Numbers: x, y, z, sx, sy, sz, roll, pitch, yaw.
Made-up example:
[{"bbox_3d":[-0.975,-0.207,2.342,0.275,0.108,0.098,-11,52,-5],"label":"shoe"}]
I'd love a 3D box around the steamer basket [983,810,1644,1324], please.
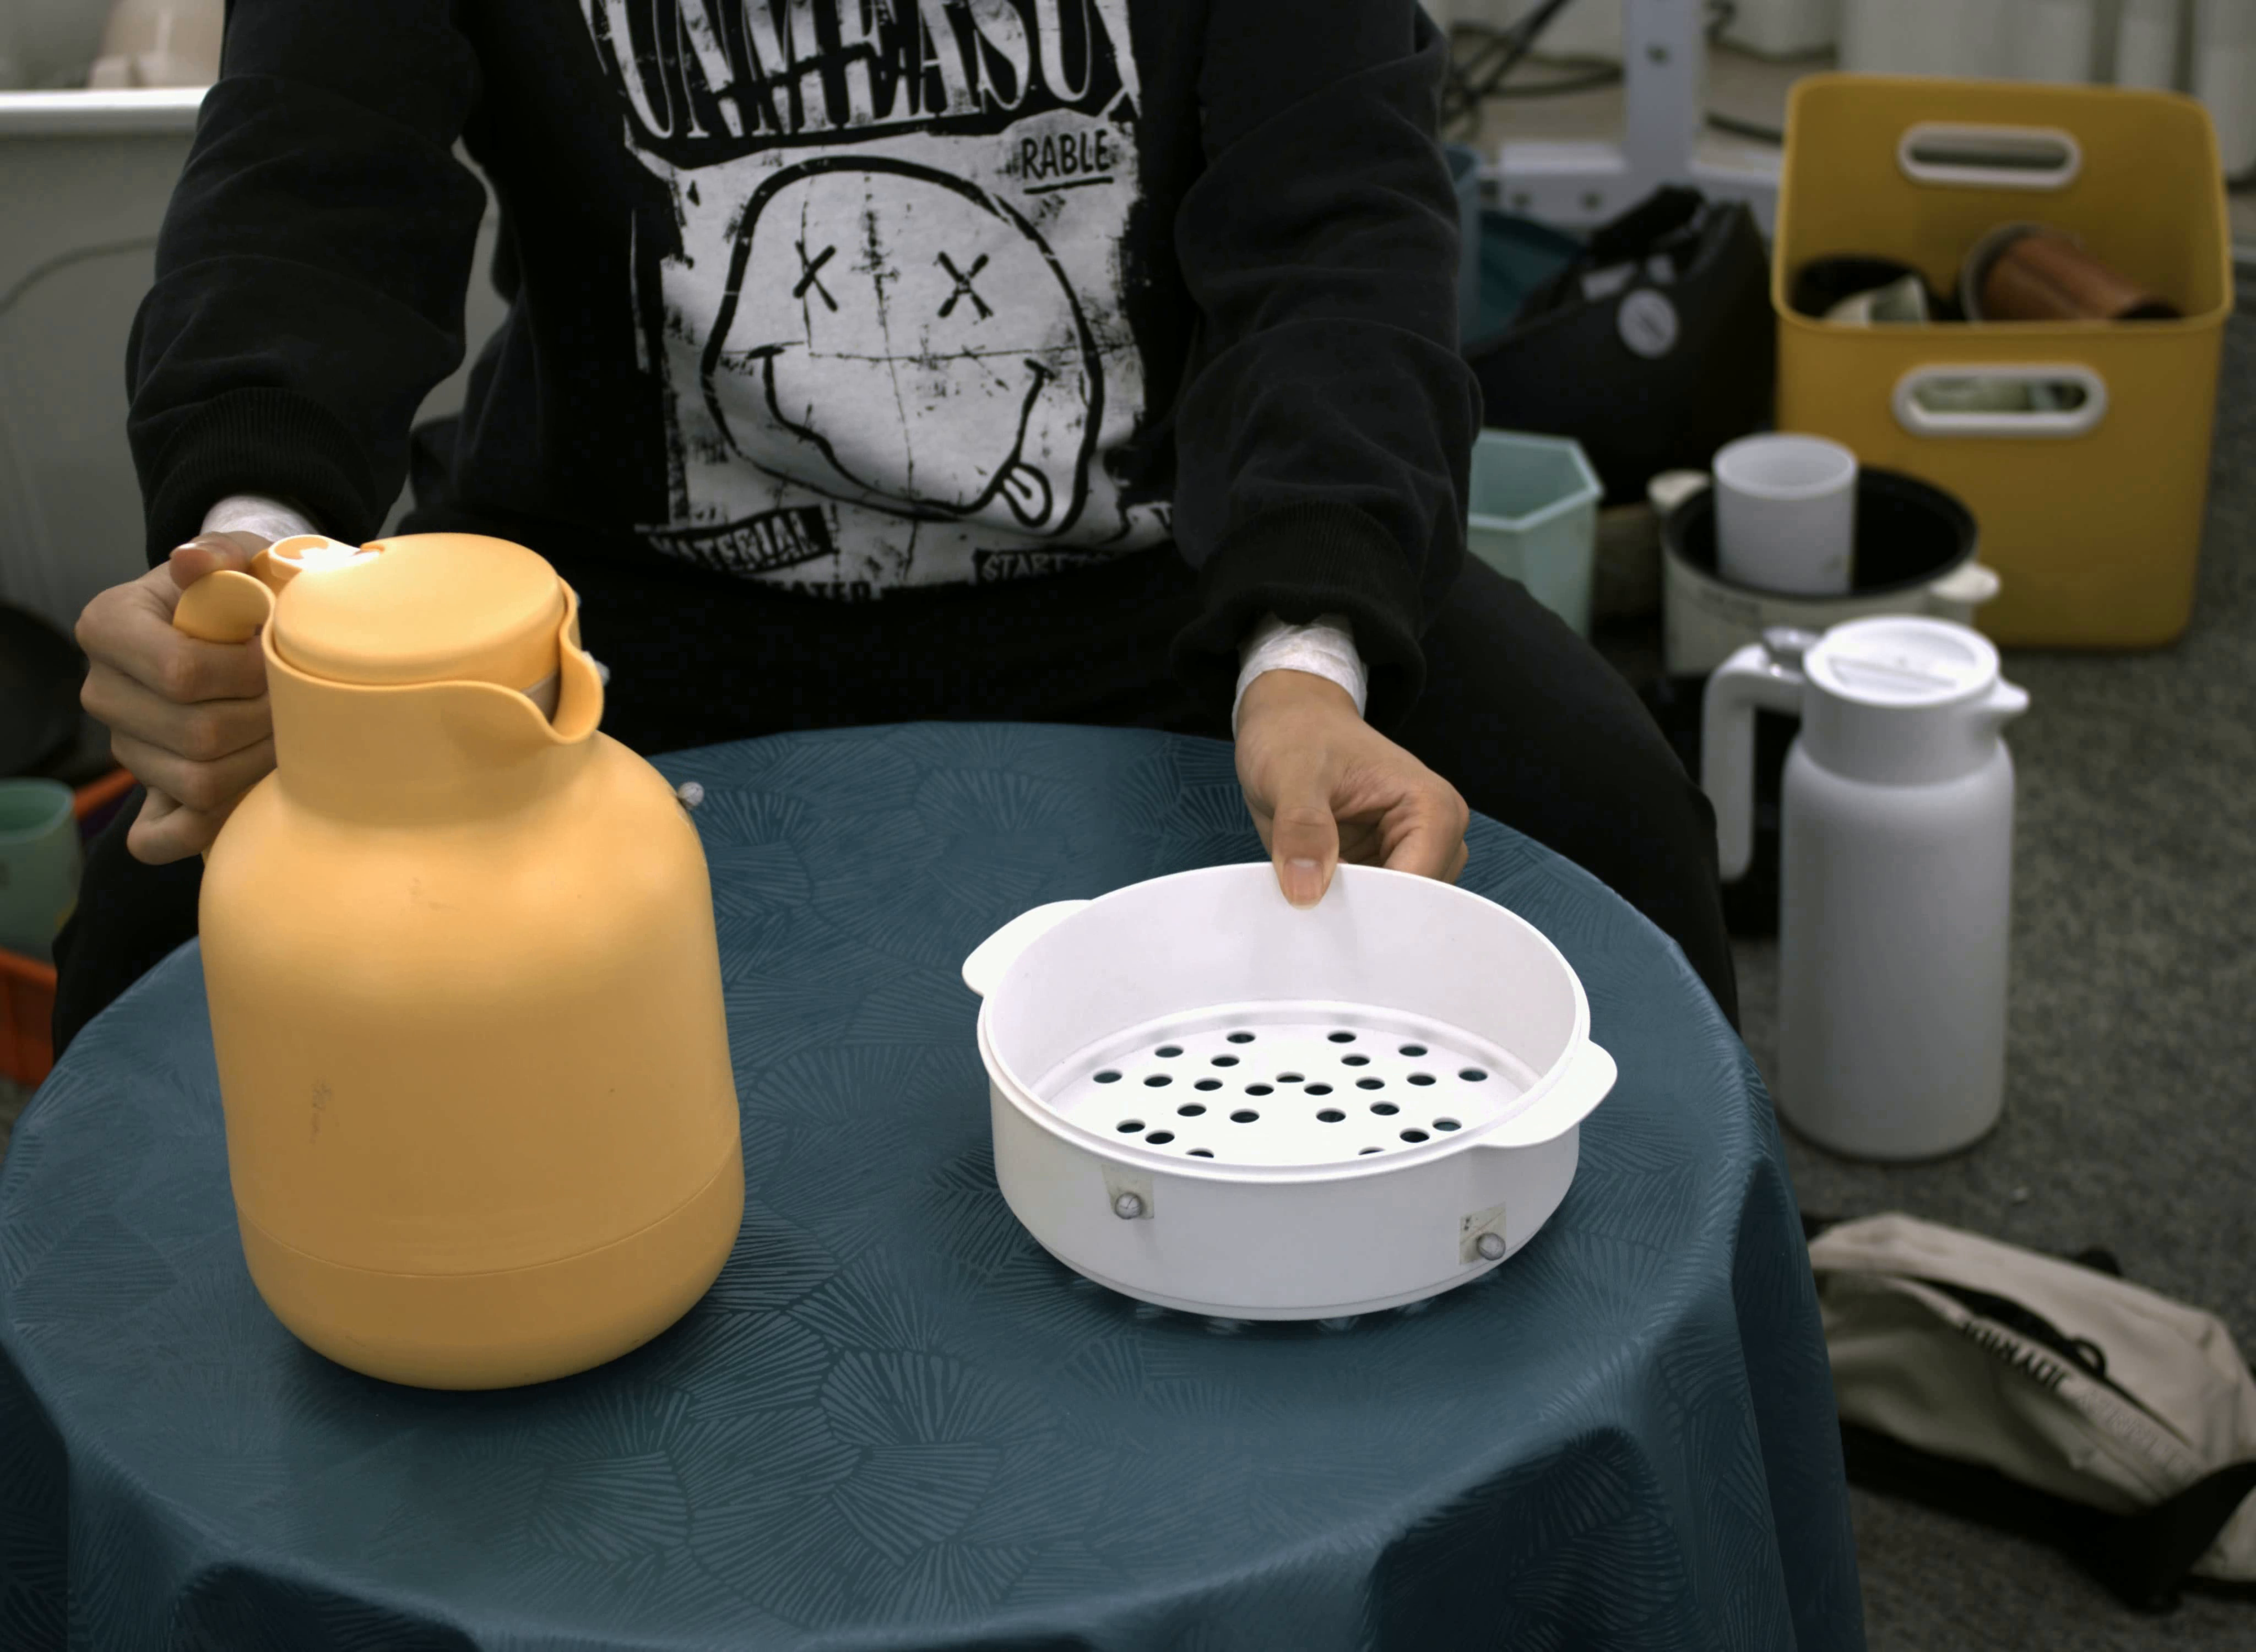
[{"bbox_3d":[0.056,0.079,1.836,0.230,0.068,0.205,24,40,24],"label":"steamer basket"}]

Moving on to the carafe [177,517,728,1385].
[{"bbox_3d":[-0.224,0.029,1.777,0.165,0.258,0.202,-22,33,-38],"label":"carafe"}]
